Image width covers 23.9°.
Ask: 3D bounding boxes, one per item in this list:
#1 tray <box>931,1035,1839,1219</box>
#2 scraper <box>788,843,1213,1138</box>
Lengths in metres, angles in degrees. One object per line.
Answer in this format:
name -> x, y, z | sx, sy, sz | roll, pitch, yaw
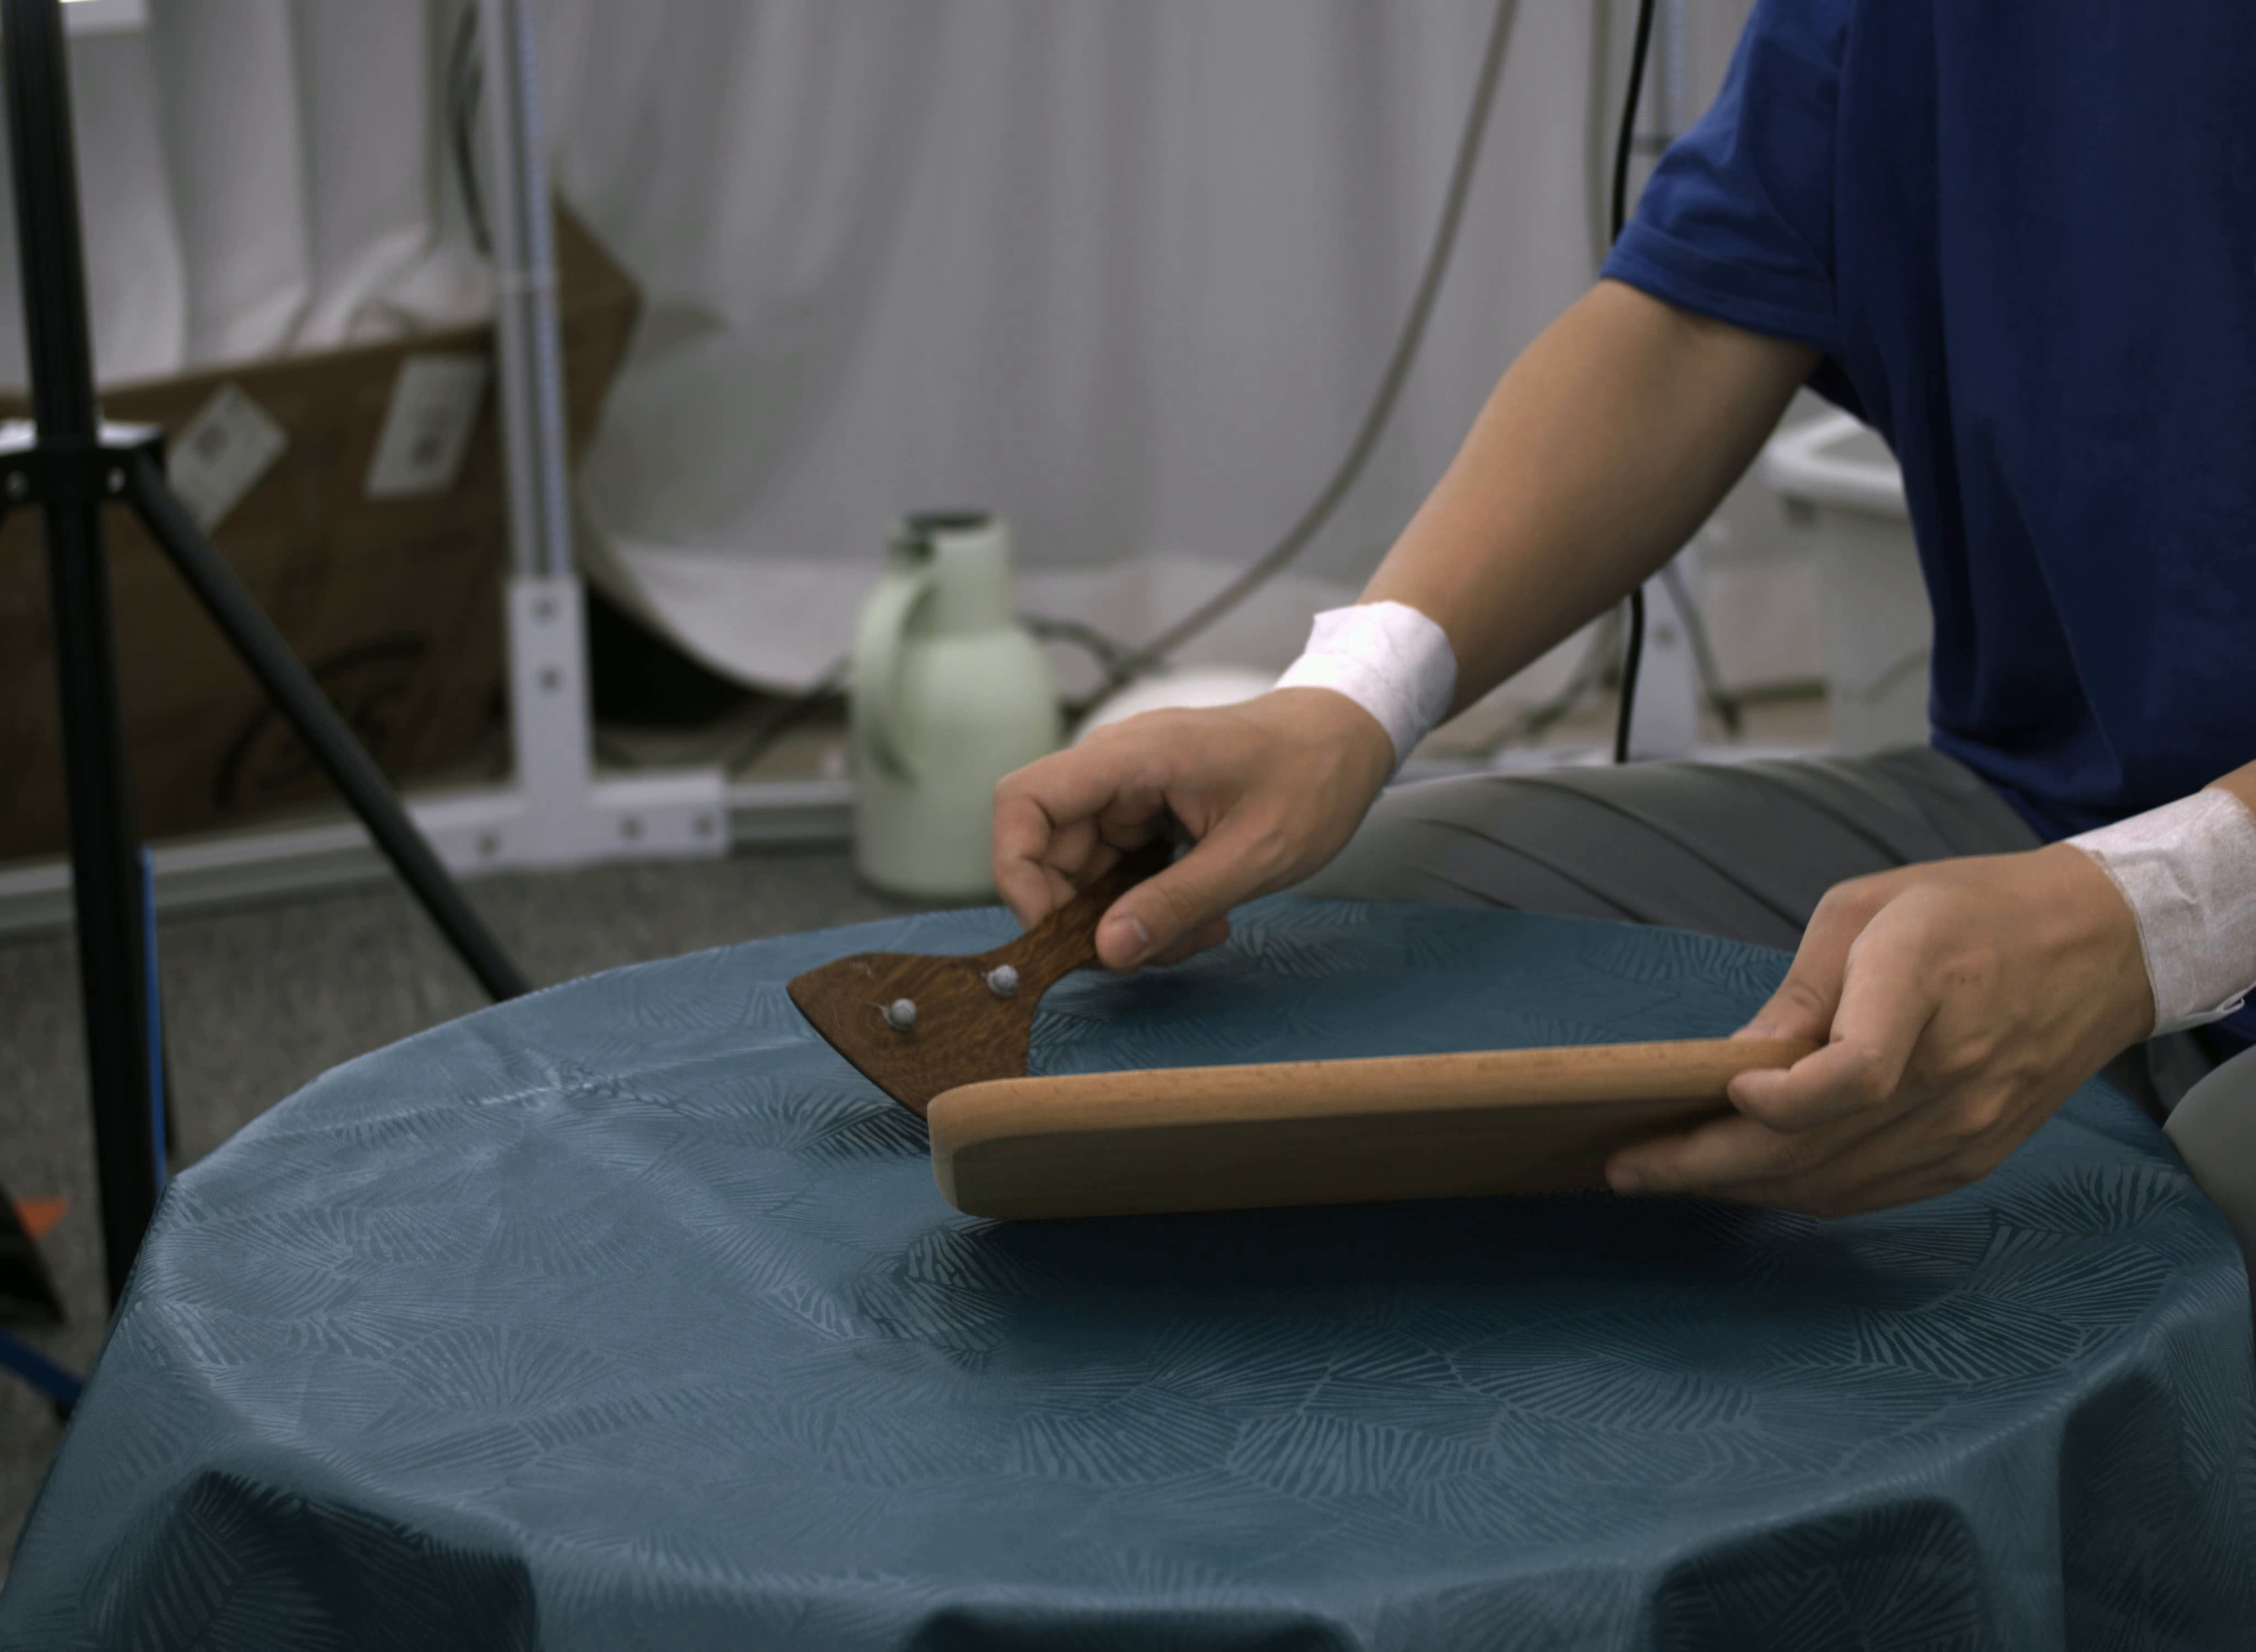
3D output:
tray -> 0.071, 0.086, 1.487 | 0.250, 0.023, 0.130 | -2, -13, 2
scraper -> -0.030, 0.045, 1.689 | 0.076, 0.011, 0.208 | 39, 33, 14
